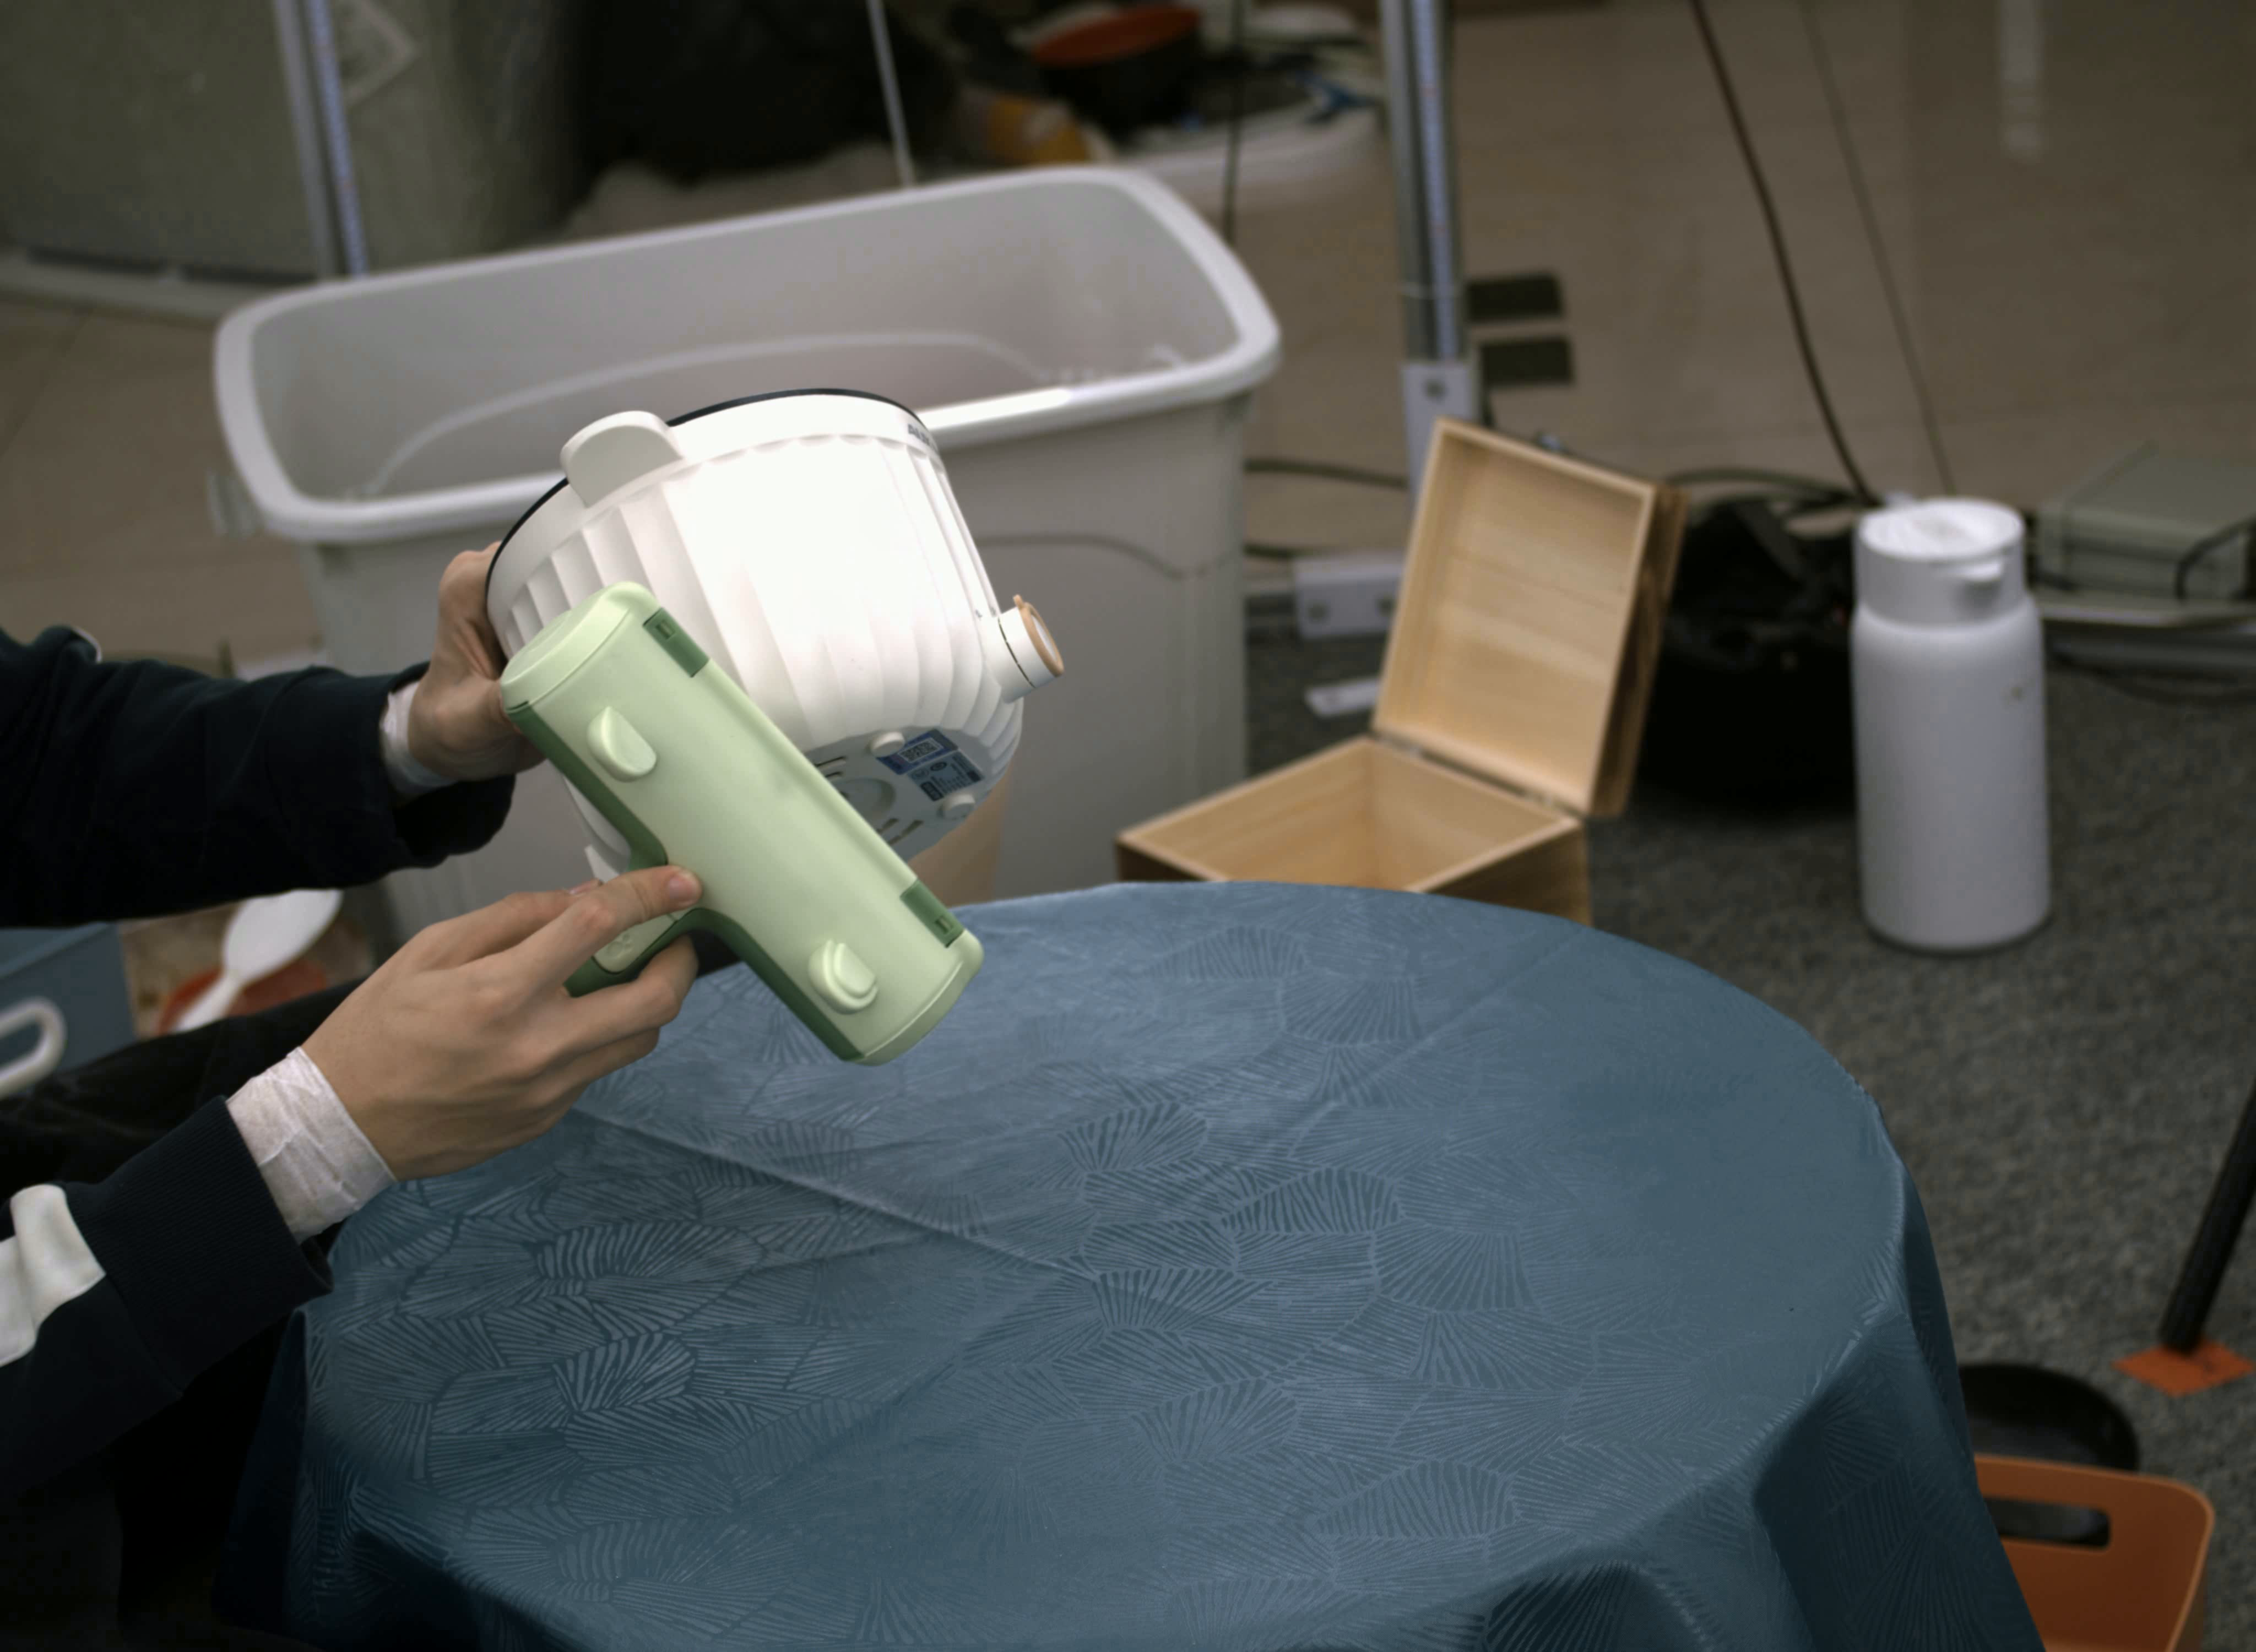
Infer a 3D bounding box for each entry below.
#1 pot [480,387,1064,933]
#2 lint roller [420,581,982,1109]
[{"bbox_3d":[-0.129,-0.058,2.112,0.191,0.242,0.141,-30,68,7],"label":"pot"},{"bbox_3d":[-0.178,0.041,2.003,0.183,0.200,0.081,-43,18,-1],"label":"lint roller"}]
